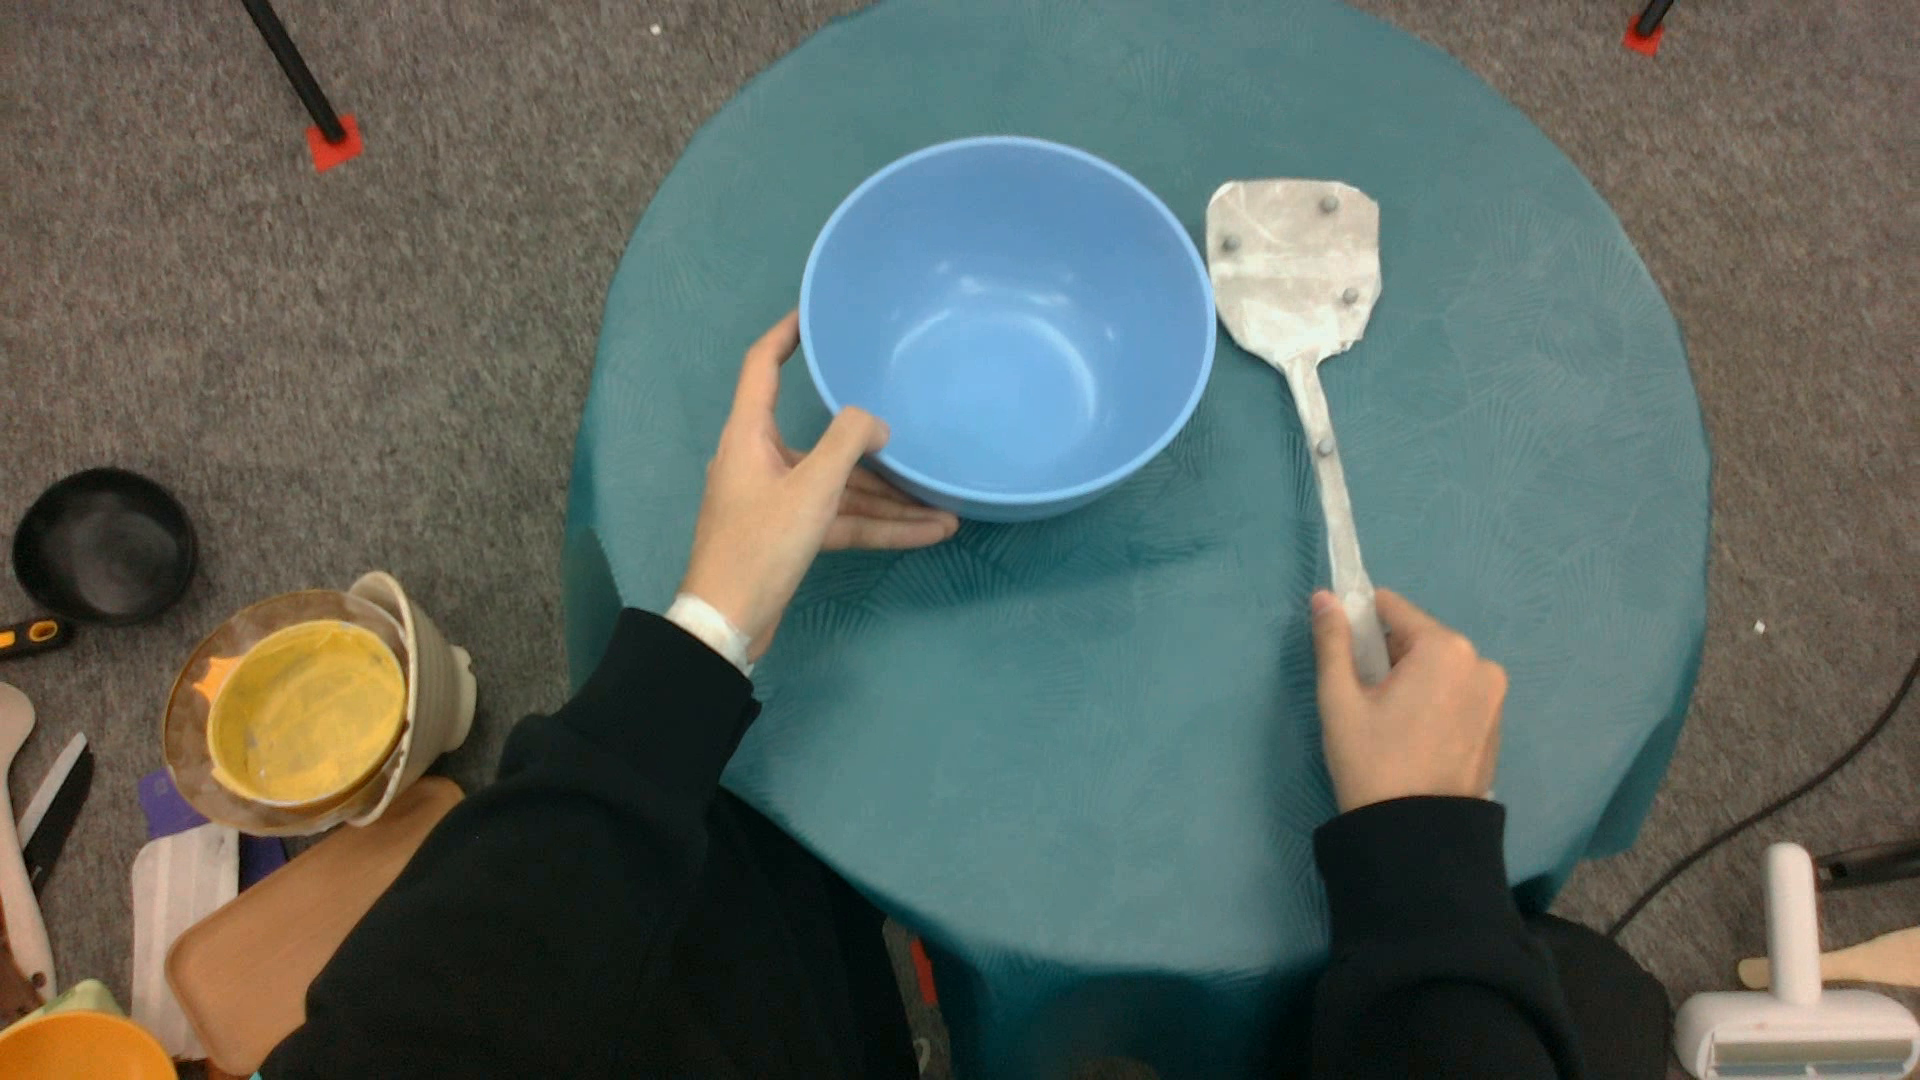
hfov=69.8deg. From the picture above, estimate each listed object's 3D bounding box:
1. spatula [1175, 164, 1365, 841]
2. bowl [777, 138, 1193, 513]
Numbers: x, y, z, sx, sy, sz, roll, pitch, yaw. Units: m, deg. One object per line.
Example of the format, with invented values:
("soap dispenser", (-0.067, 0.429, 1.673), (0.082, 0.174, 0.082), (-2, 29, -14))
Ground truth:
("spatula", (0.173, -0.034, 0.700), (0.099, 0.044, 0.366), (0, 64, -6))
("bowl", (0.010, -0.092, 0.687), (0.196, 0.095, 0.197), (2, 66, -4))
